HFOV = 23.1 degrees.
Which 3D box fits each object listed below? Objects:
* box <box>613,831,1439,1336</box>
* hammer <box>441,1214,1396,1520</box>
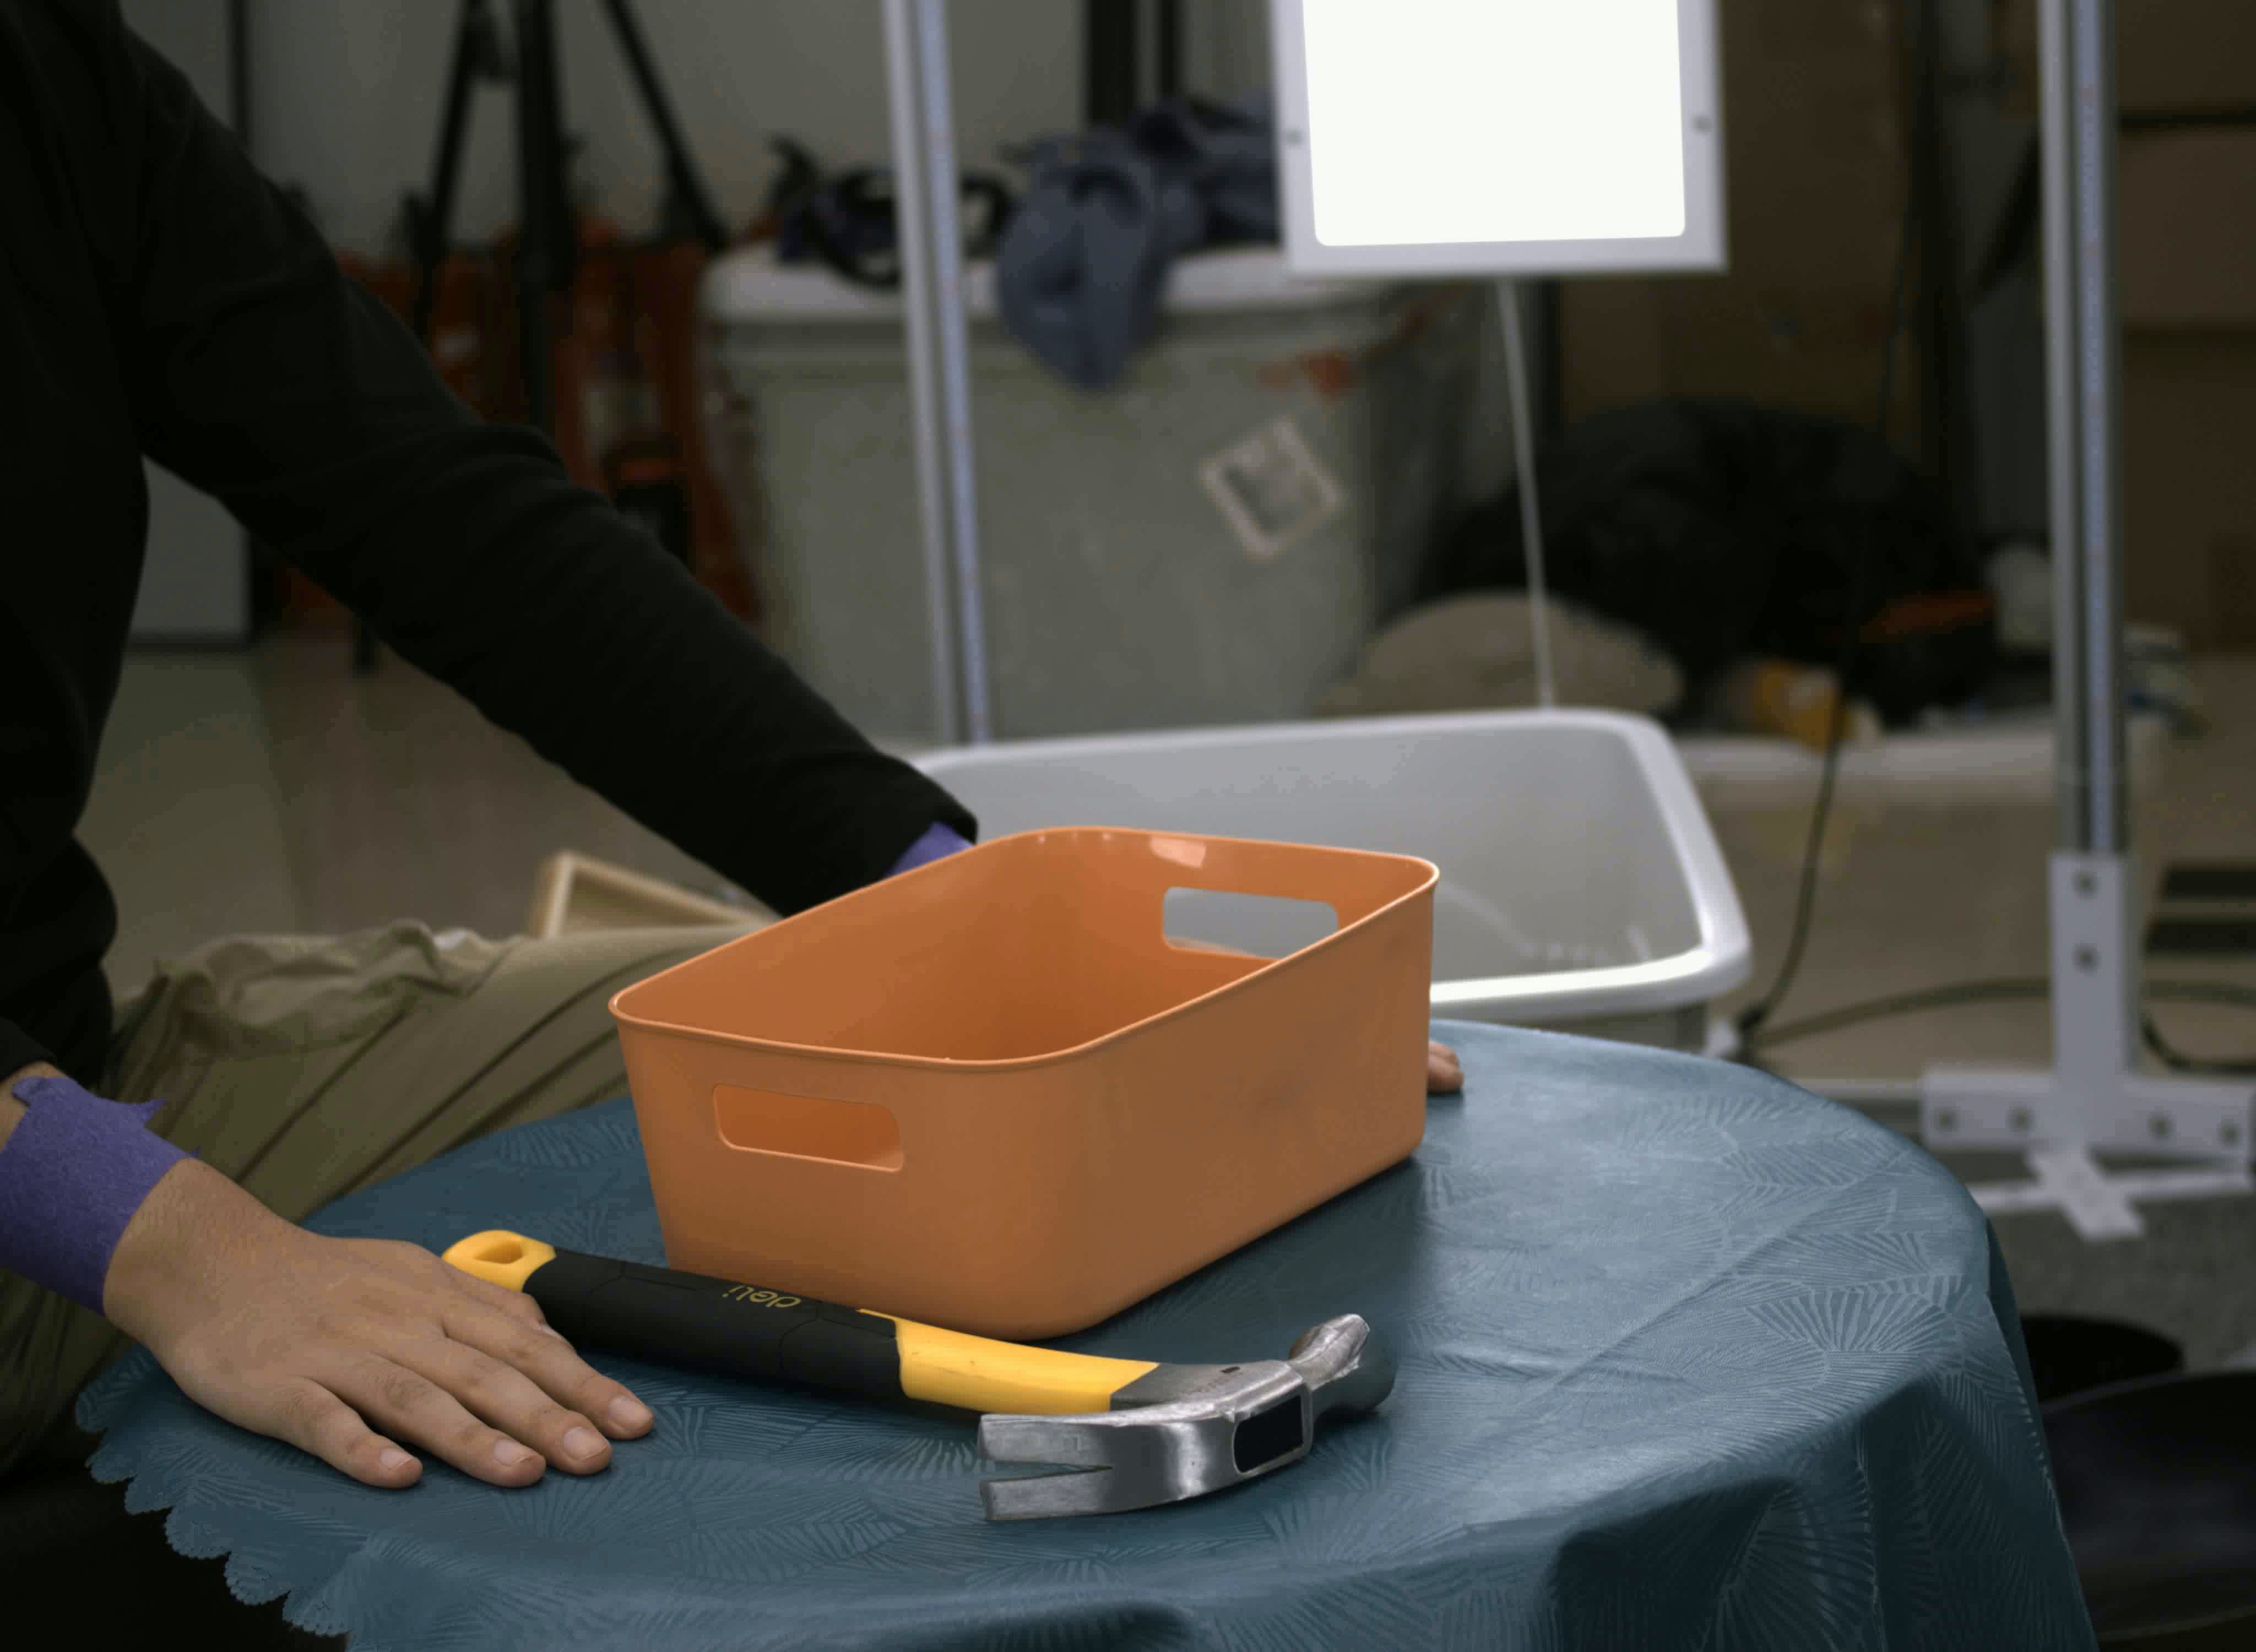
[{"bbox_3d":[-0.029,0.084,1.866,0.203,0.103,0.266,4,16,36],"label":"box"},{"bbox_3d":[-0.088,0.160,1.722,0.346,0.032,0.128,8,19,40],"label":"hammer"}]
